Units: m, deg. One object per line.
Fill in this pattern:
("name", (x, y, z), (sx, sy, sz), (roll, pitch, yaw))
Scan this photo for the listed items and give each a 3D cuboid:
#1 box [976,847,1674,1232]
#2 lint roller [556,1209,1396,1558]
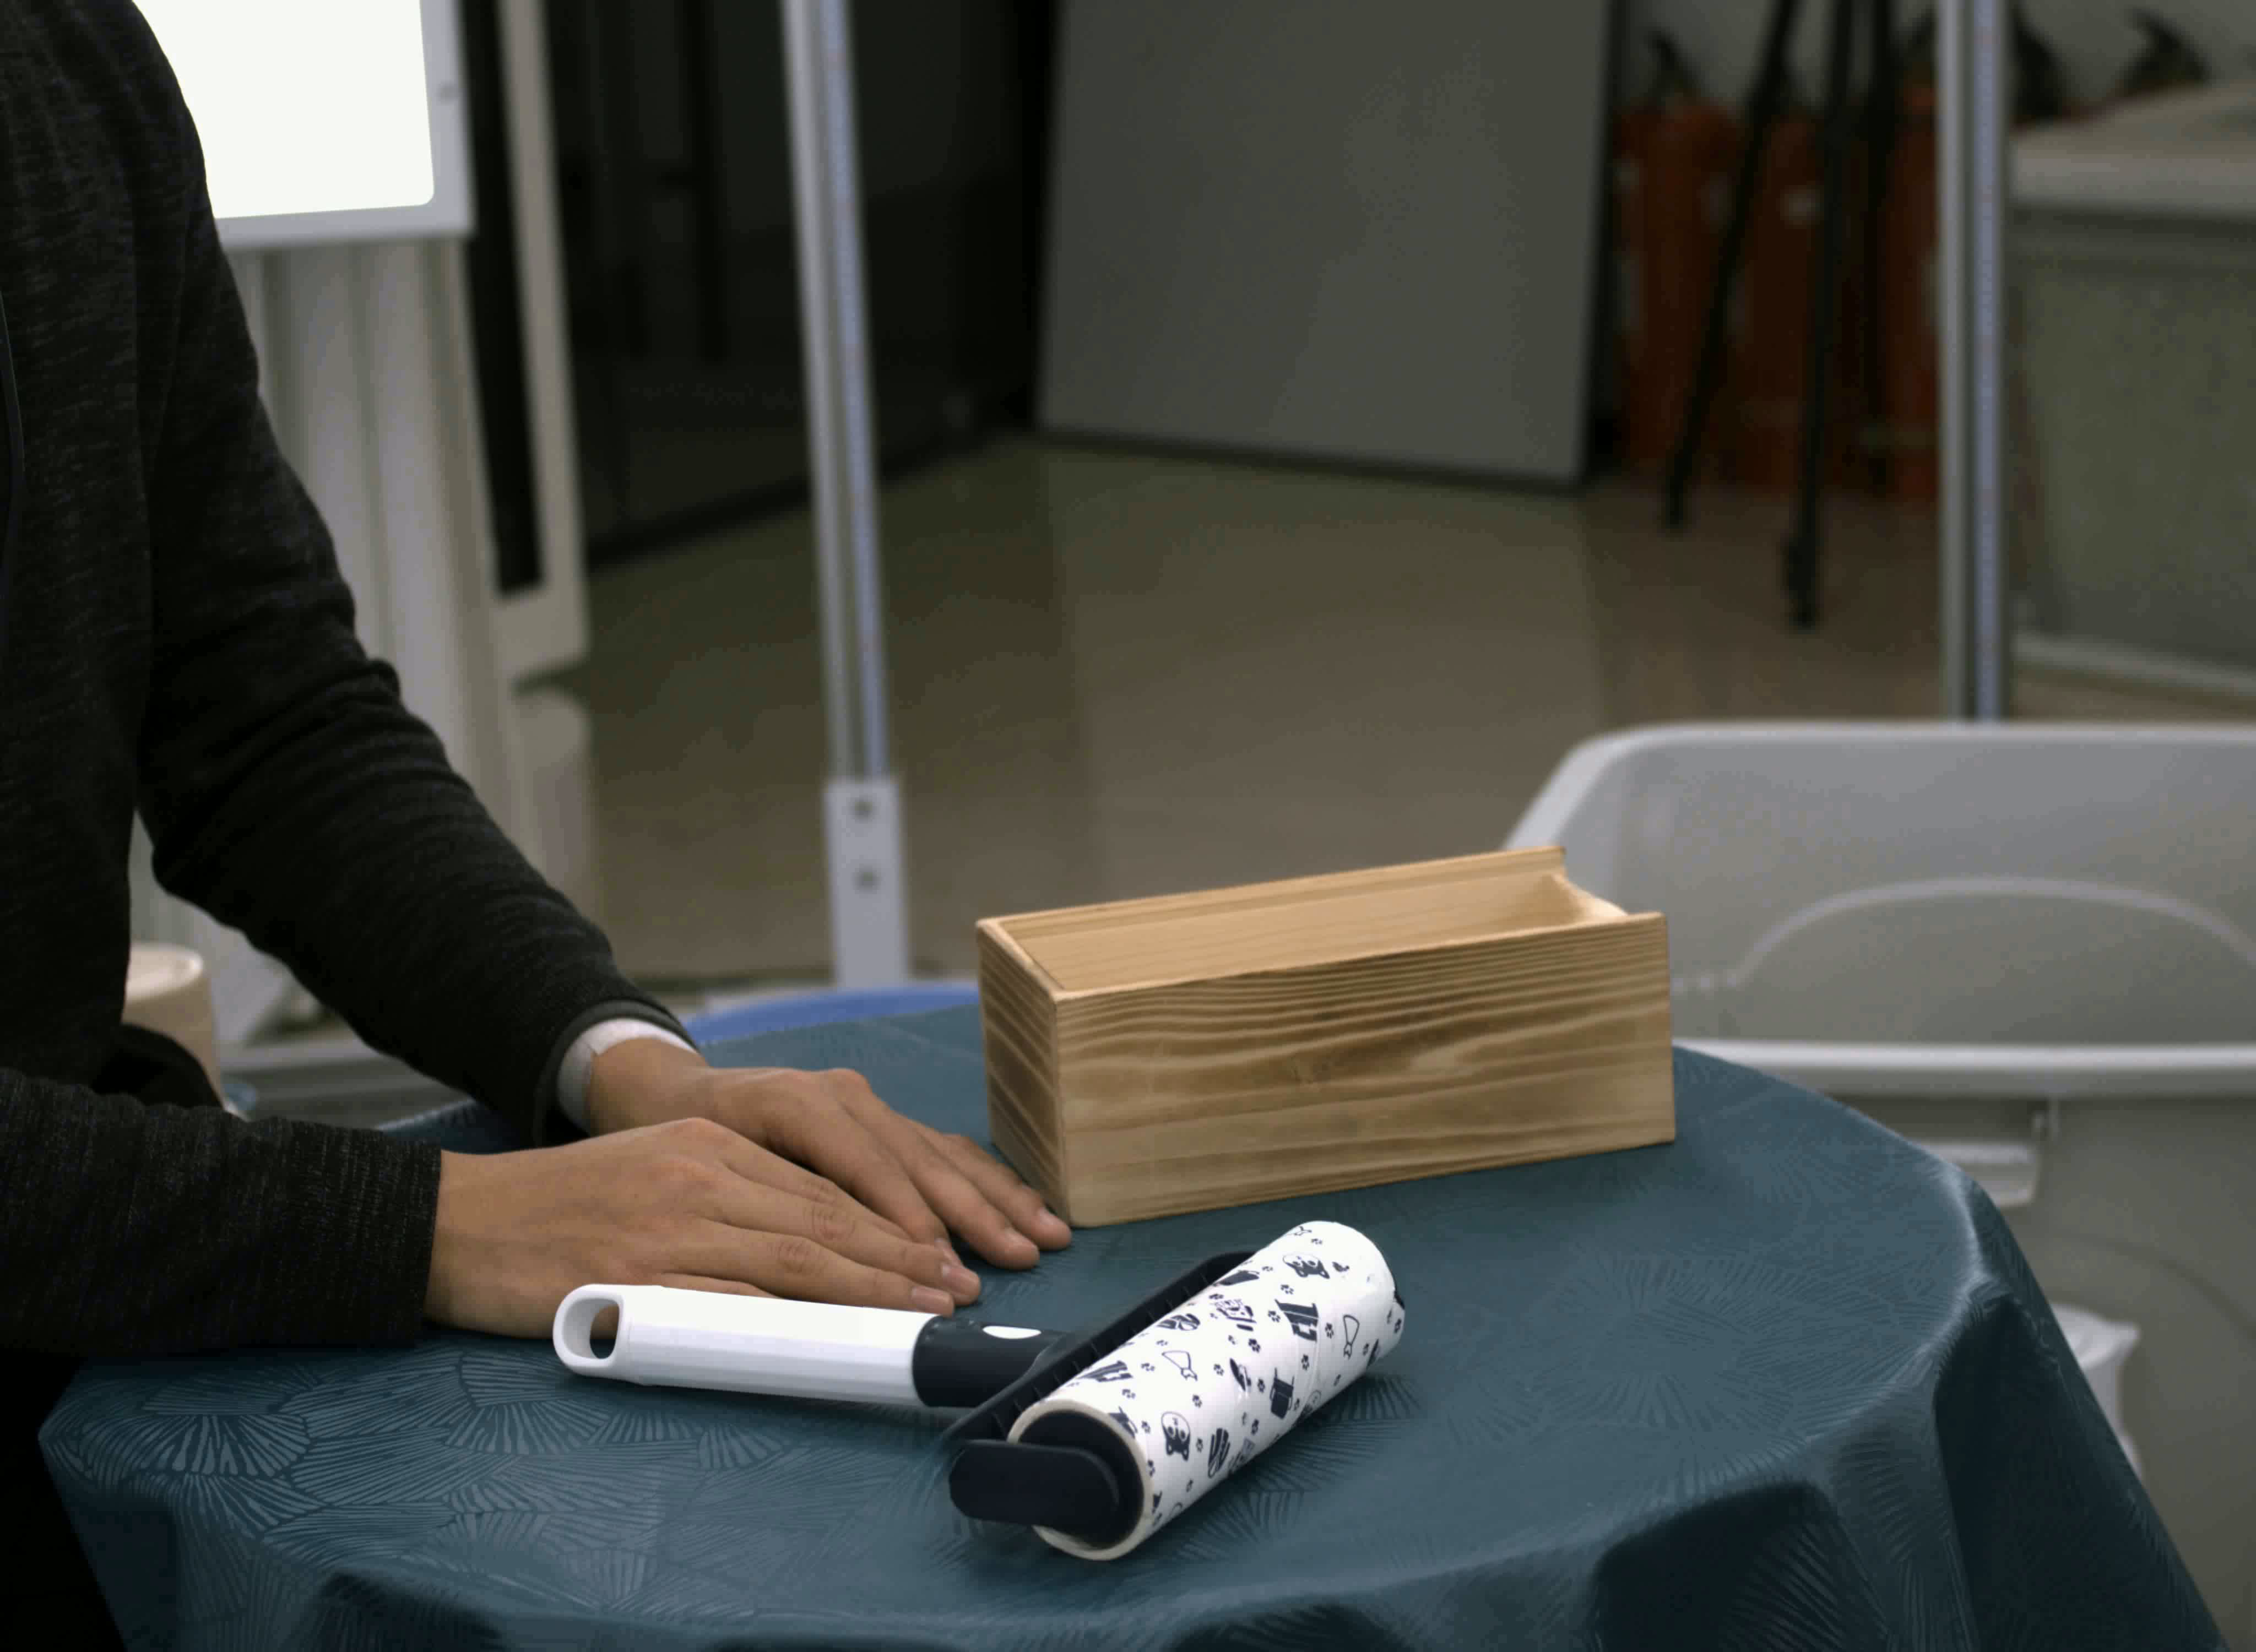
("box", (0.065, 0.069, 1.795), (0.207, 0.081, 0.108), (-8, 14, -13))
("lint roller", (-0.064, 0.153, 1.567), (0.248, 0.051, 0.174), (2, 16, 30))
